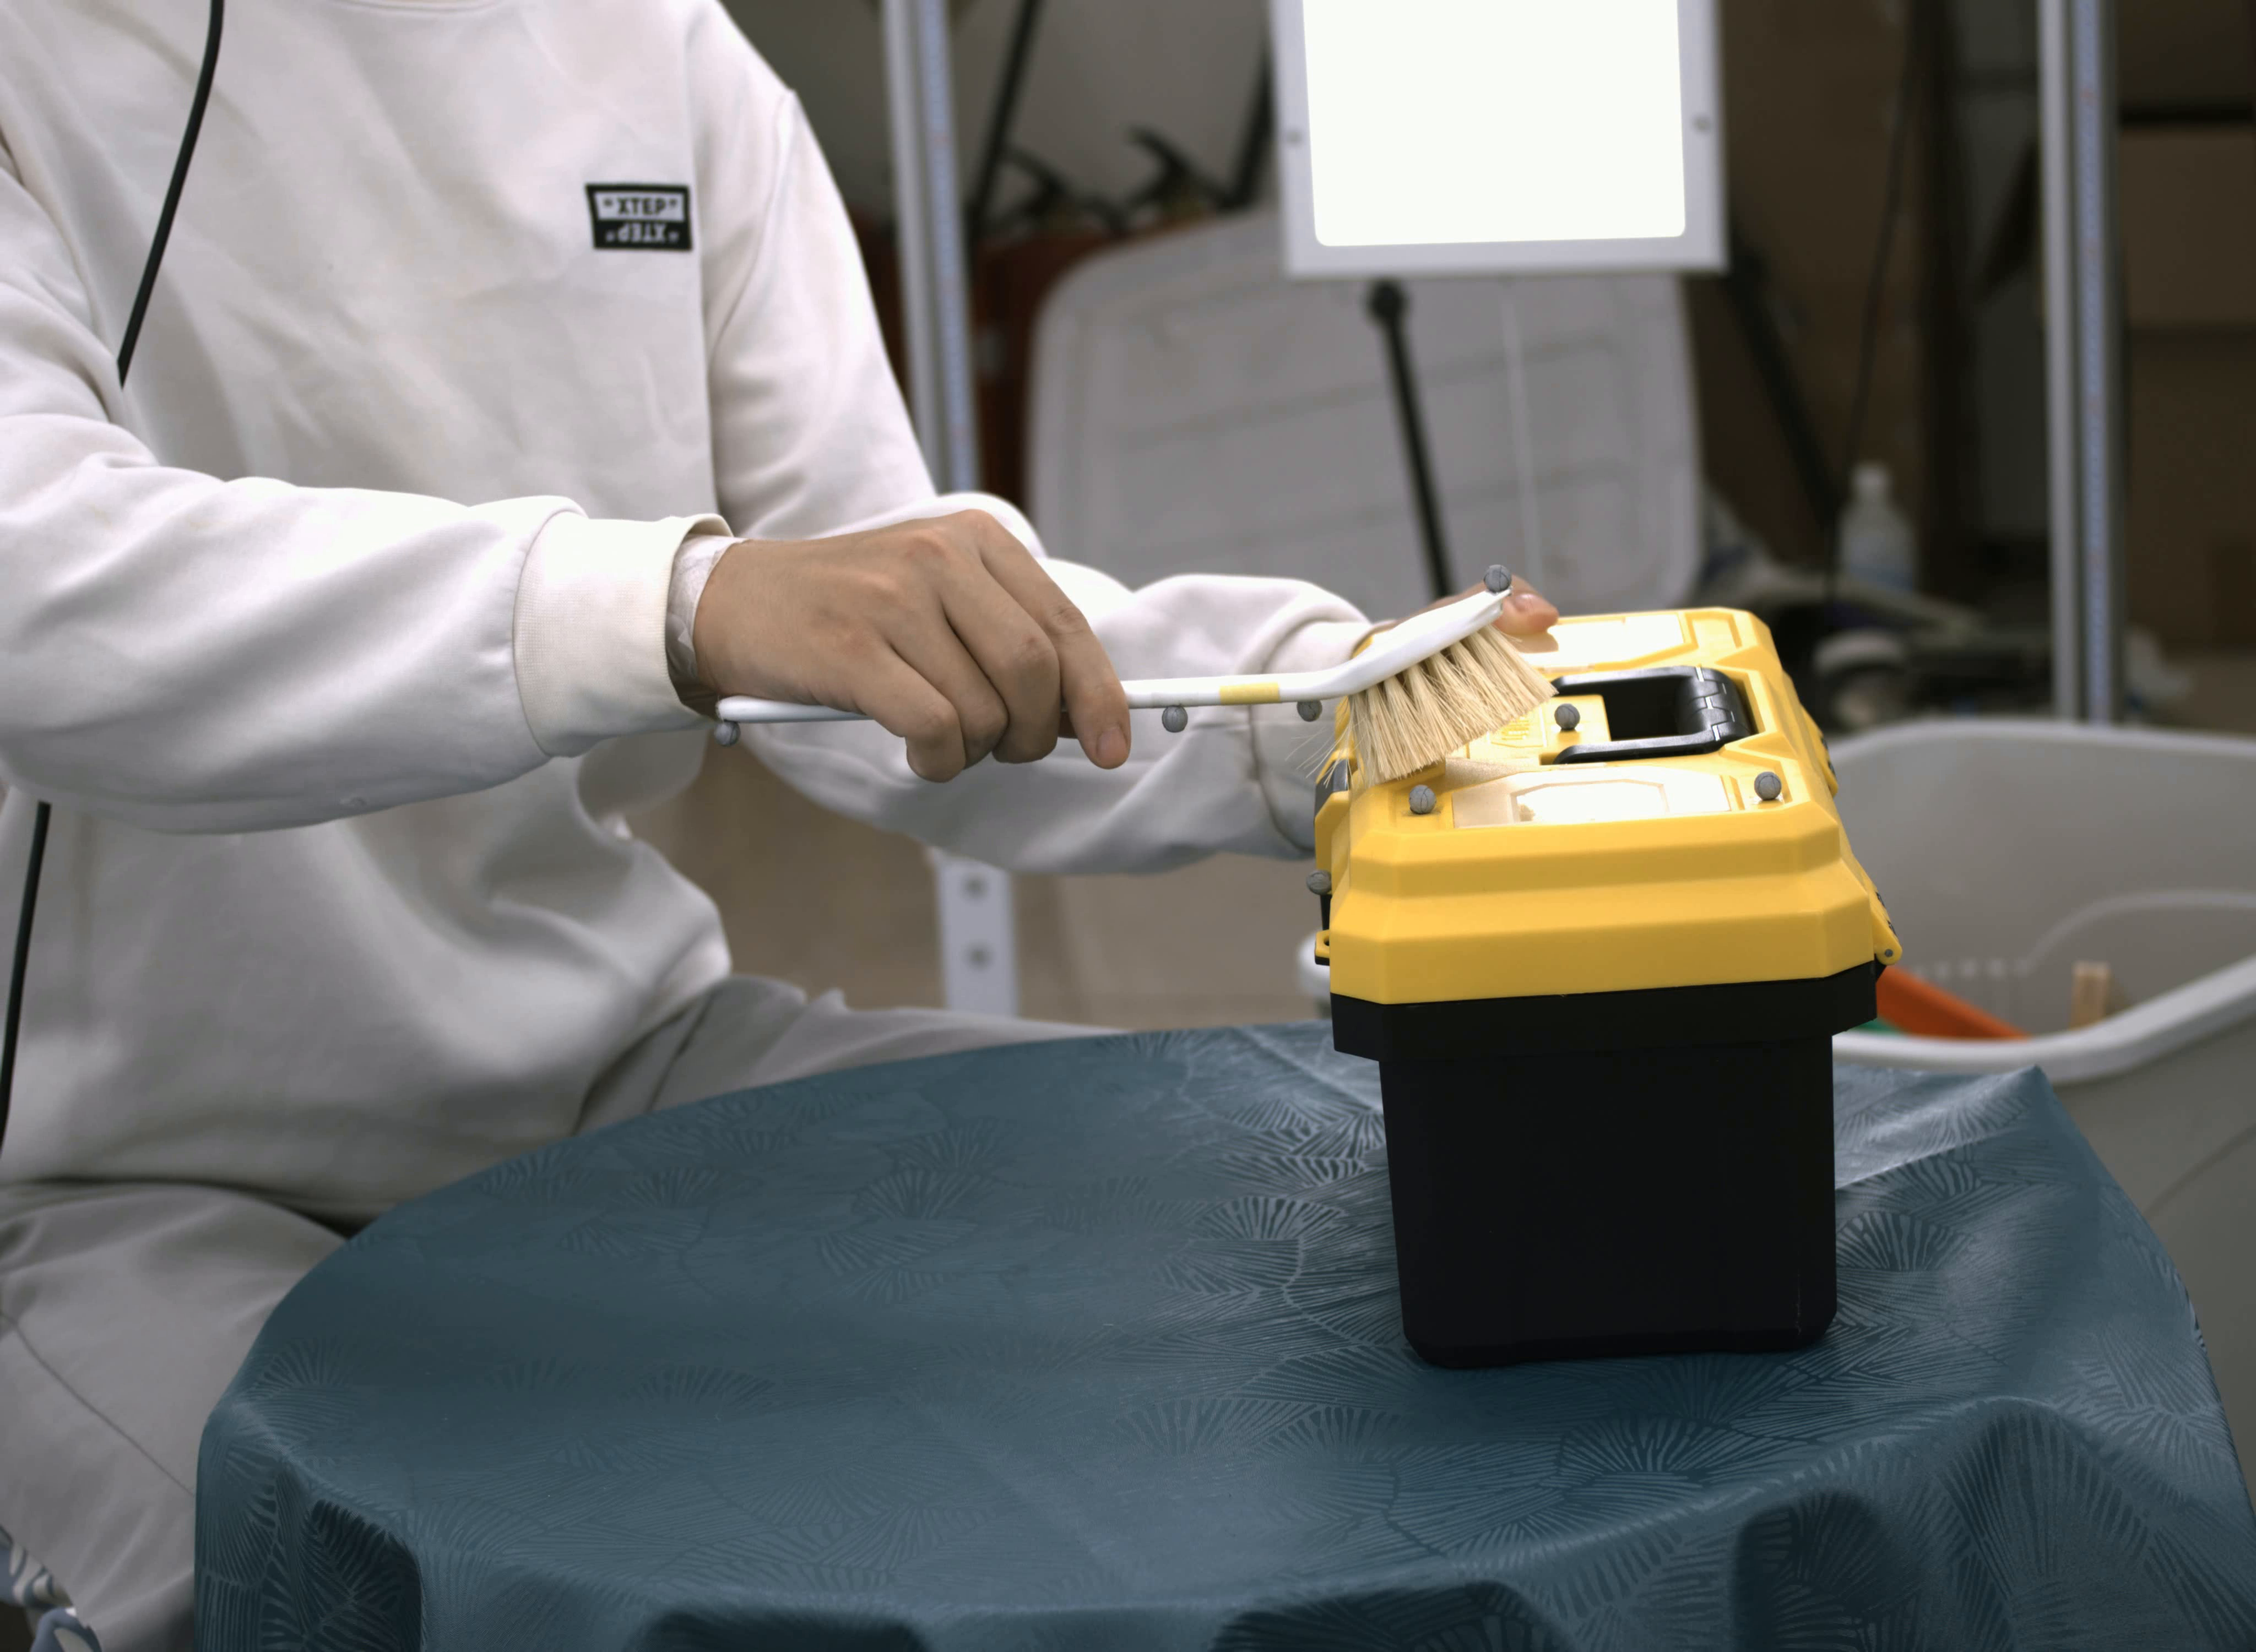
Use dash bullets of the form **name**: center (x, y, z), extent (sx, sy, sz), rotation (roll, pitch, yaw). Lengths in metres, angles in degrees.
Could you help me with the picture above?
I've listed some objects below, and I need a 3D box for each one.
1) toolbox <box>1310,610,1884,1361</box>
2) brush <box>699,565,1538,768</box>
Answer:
- **toolbox**: center (0.152, 0.045, 1.812), extent (0.181, 0.173, 0.349), rotation (-3, 13, 4)
- **brush**: center (-0.002, -0.035, 1.746), extent (0.267, 0.056, 0.068), rotation (-9, 0, 7)
